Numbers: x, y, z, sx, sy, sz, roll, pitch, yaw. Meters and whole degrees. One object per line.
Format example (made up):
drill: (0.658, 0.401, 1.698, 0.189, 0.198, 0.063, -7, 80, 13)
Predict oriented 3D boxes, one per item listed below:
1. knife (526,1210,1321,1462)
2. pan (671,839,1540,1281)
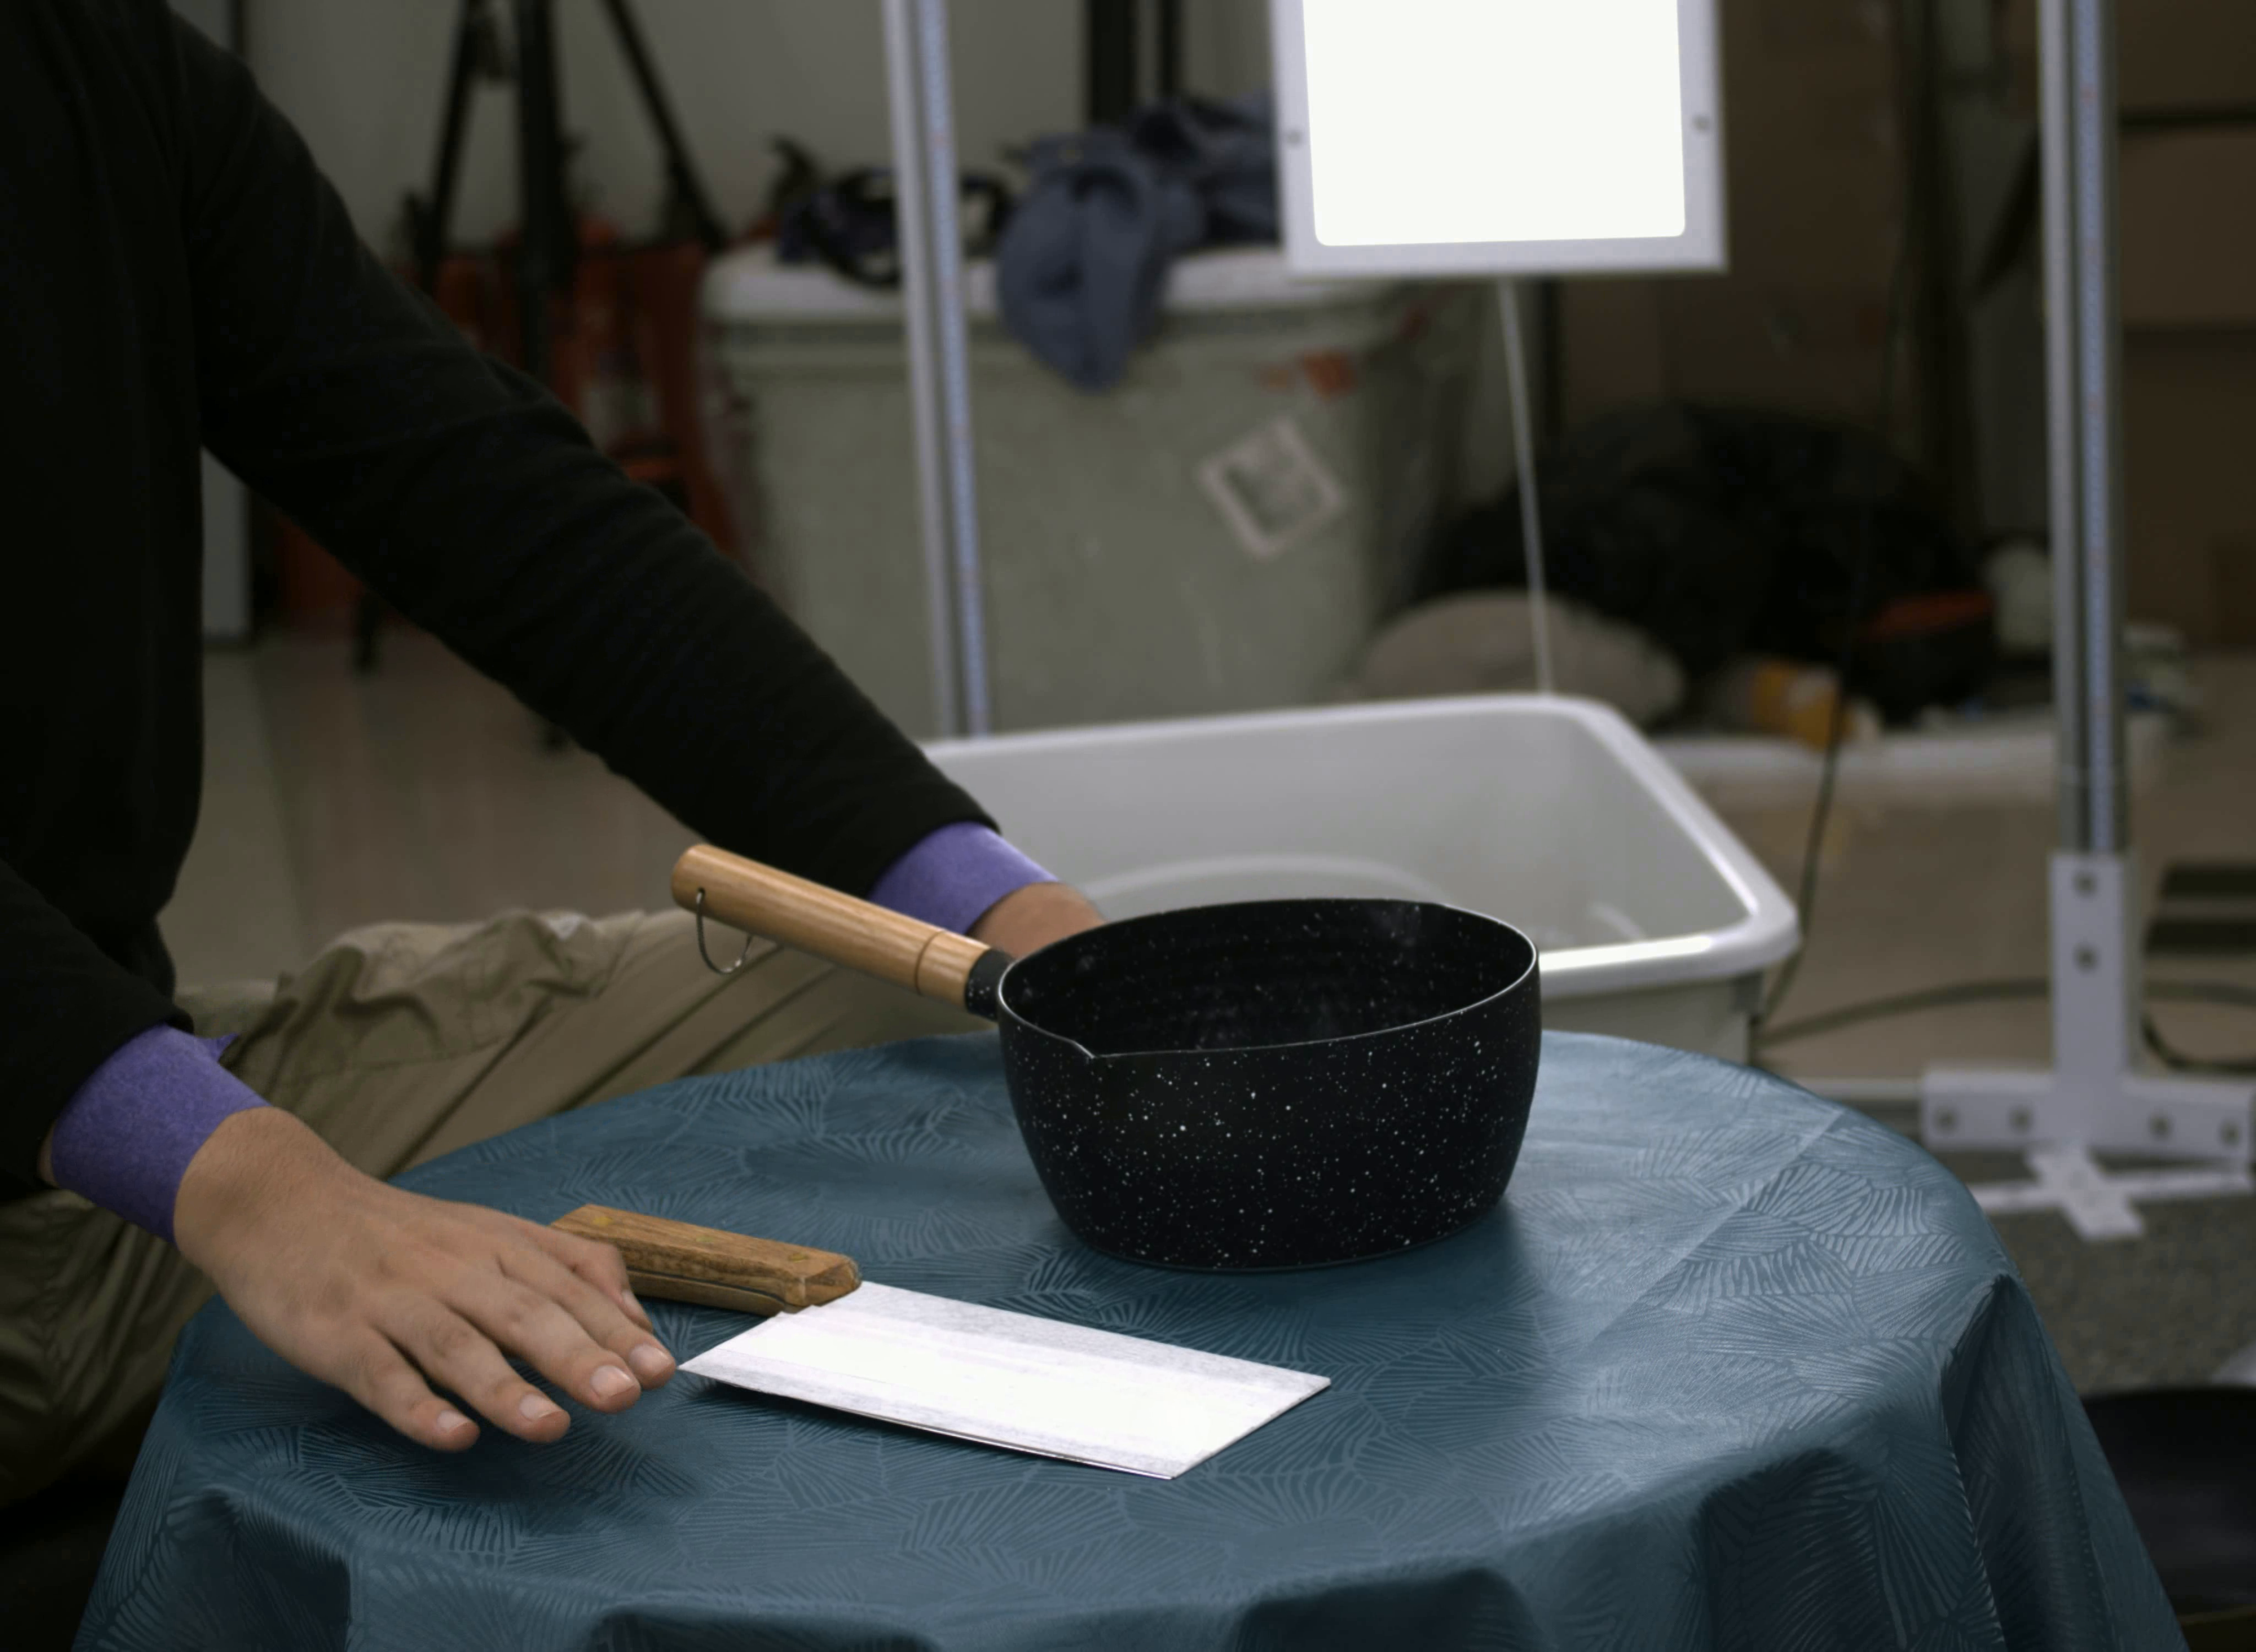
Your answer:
knife: (-0.085, 0.164, 1.748, 0.312, 0.021, 0.090, 8, 20, 36)
pan: (-0.018, 0.073, 1.903, 0.349, 0.108, 0.202, 6, 18, 34)
